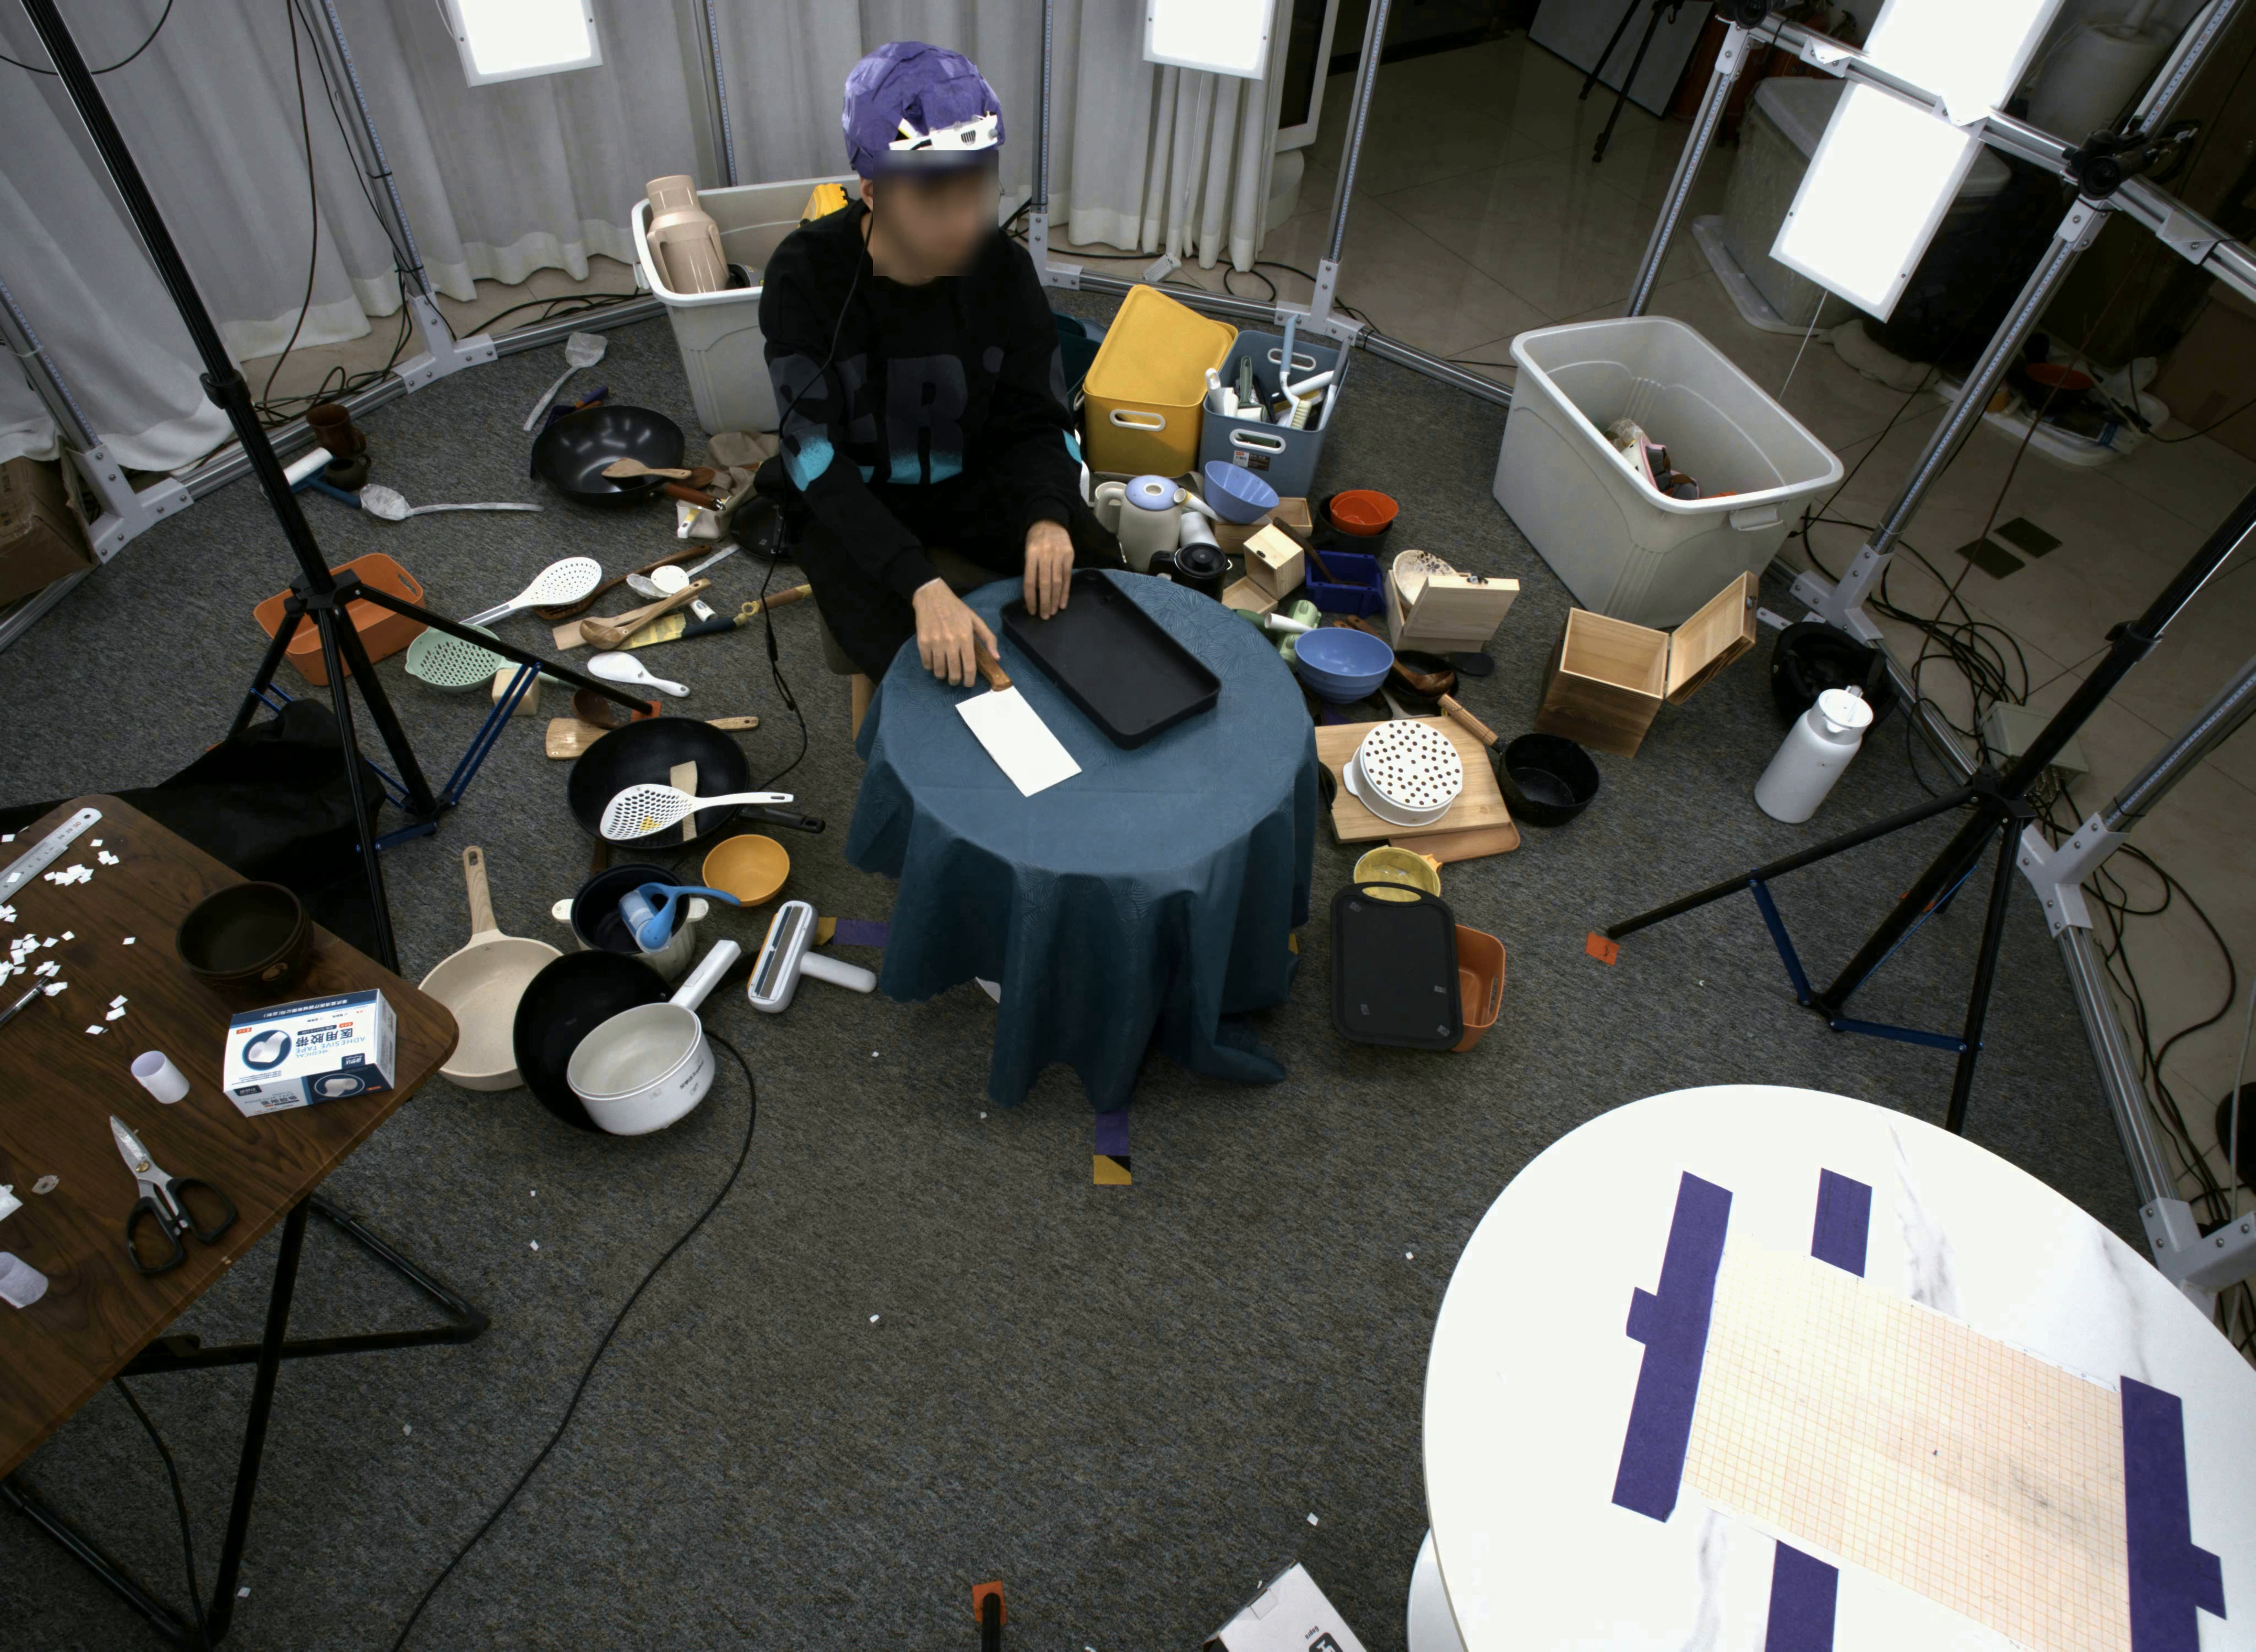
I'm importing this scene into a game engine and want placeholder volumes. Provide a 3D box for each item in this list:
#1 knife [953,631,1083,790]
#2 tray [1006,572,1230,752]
[{"bbox_3d":[-0.178,-0.161,1.787,0.093,0.020,0.312,-26,58,-22],"label":"knife"},{"bbox_3d":[-0.018,-0.243,1.855,0.185,0.036,0.323,-30,57,-26],"label":"tray"}]
